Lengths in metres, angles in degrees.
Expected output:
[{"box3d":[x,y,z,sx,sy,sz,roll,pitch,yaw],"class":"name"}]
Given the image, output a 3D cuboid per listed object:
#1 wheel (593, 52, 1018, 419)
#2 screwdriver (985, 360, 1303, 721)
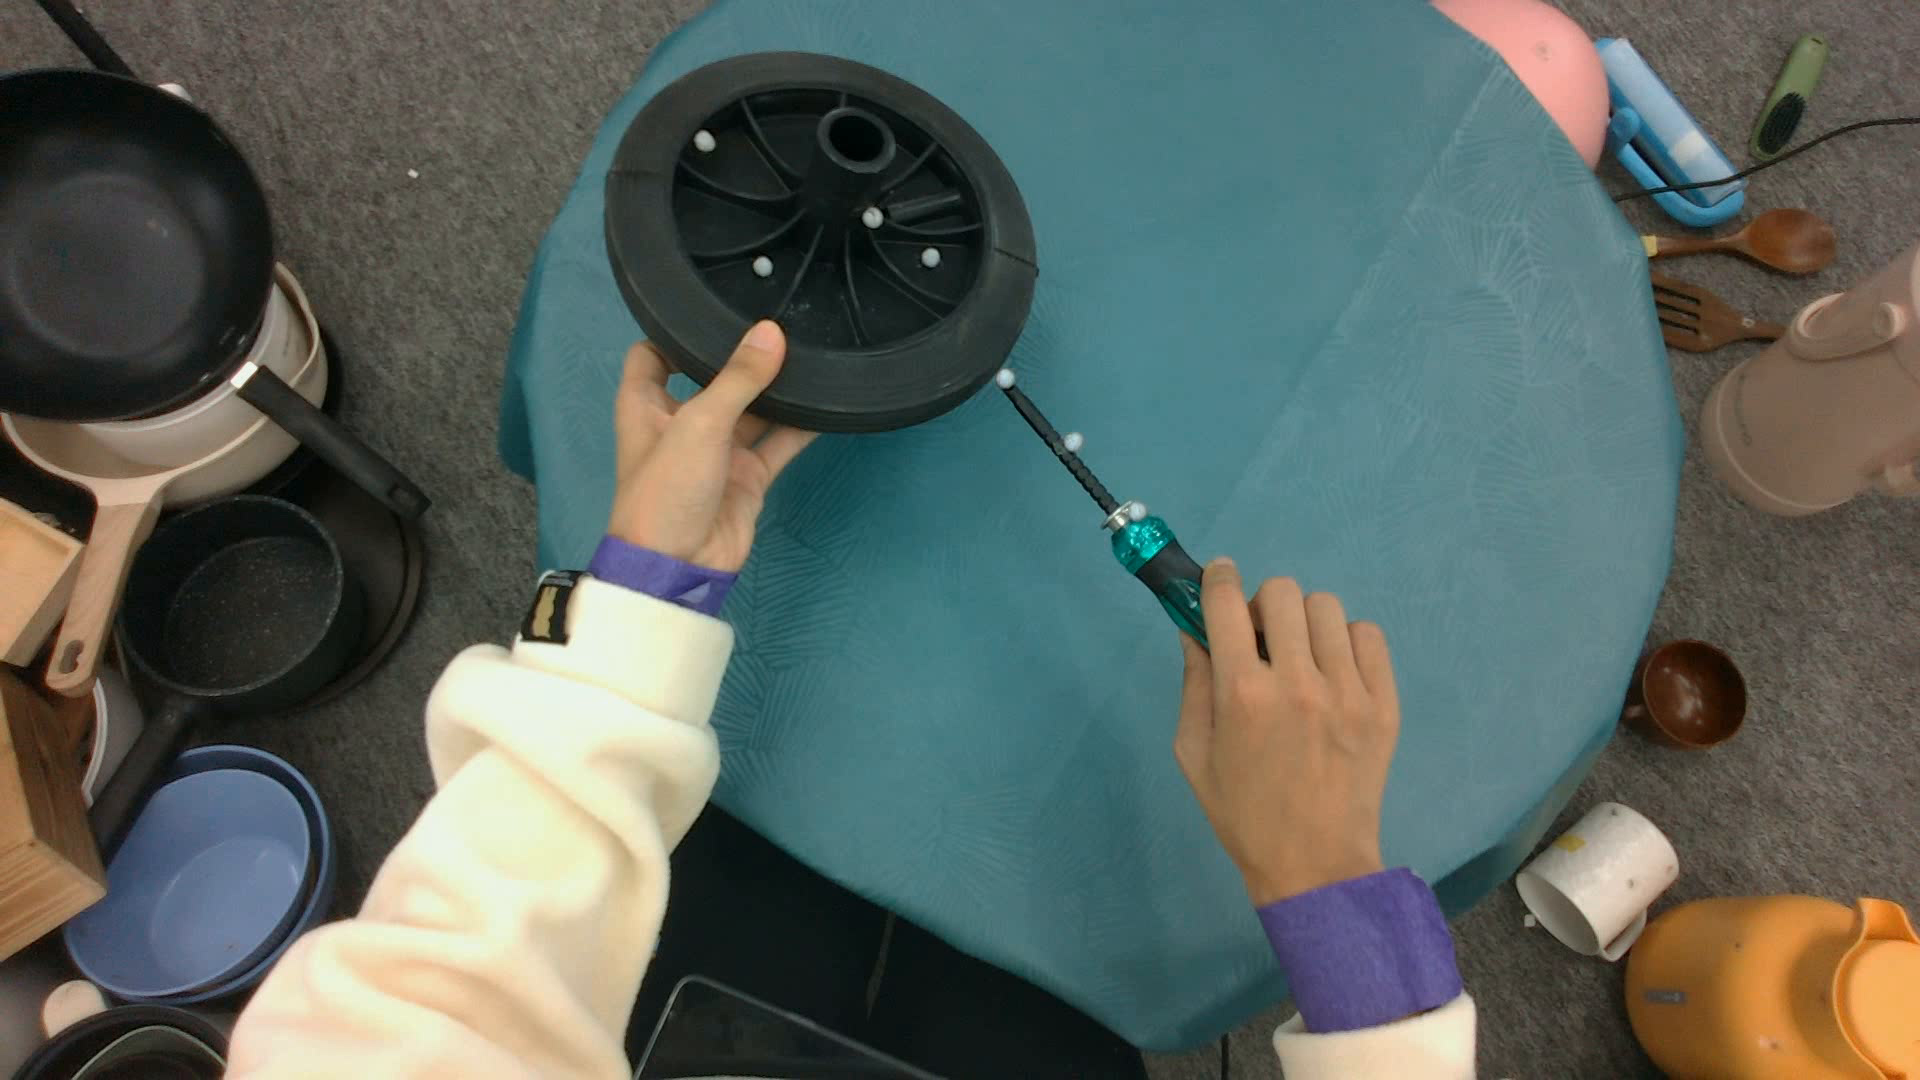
[{"box3d":[-0.057,-0.147,0.587,0.187,0.079,0.191,41,58,4],"class":"wheel"},{"box3d":[0.073,-0.005,0.574,0.034,0.033,0.190,-37,78,-14],"class":"screwdriver"}]
